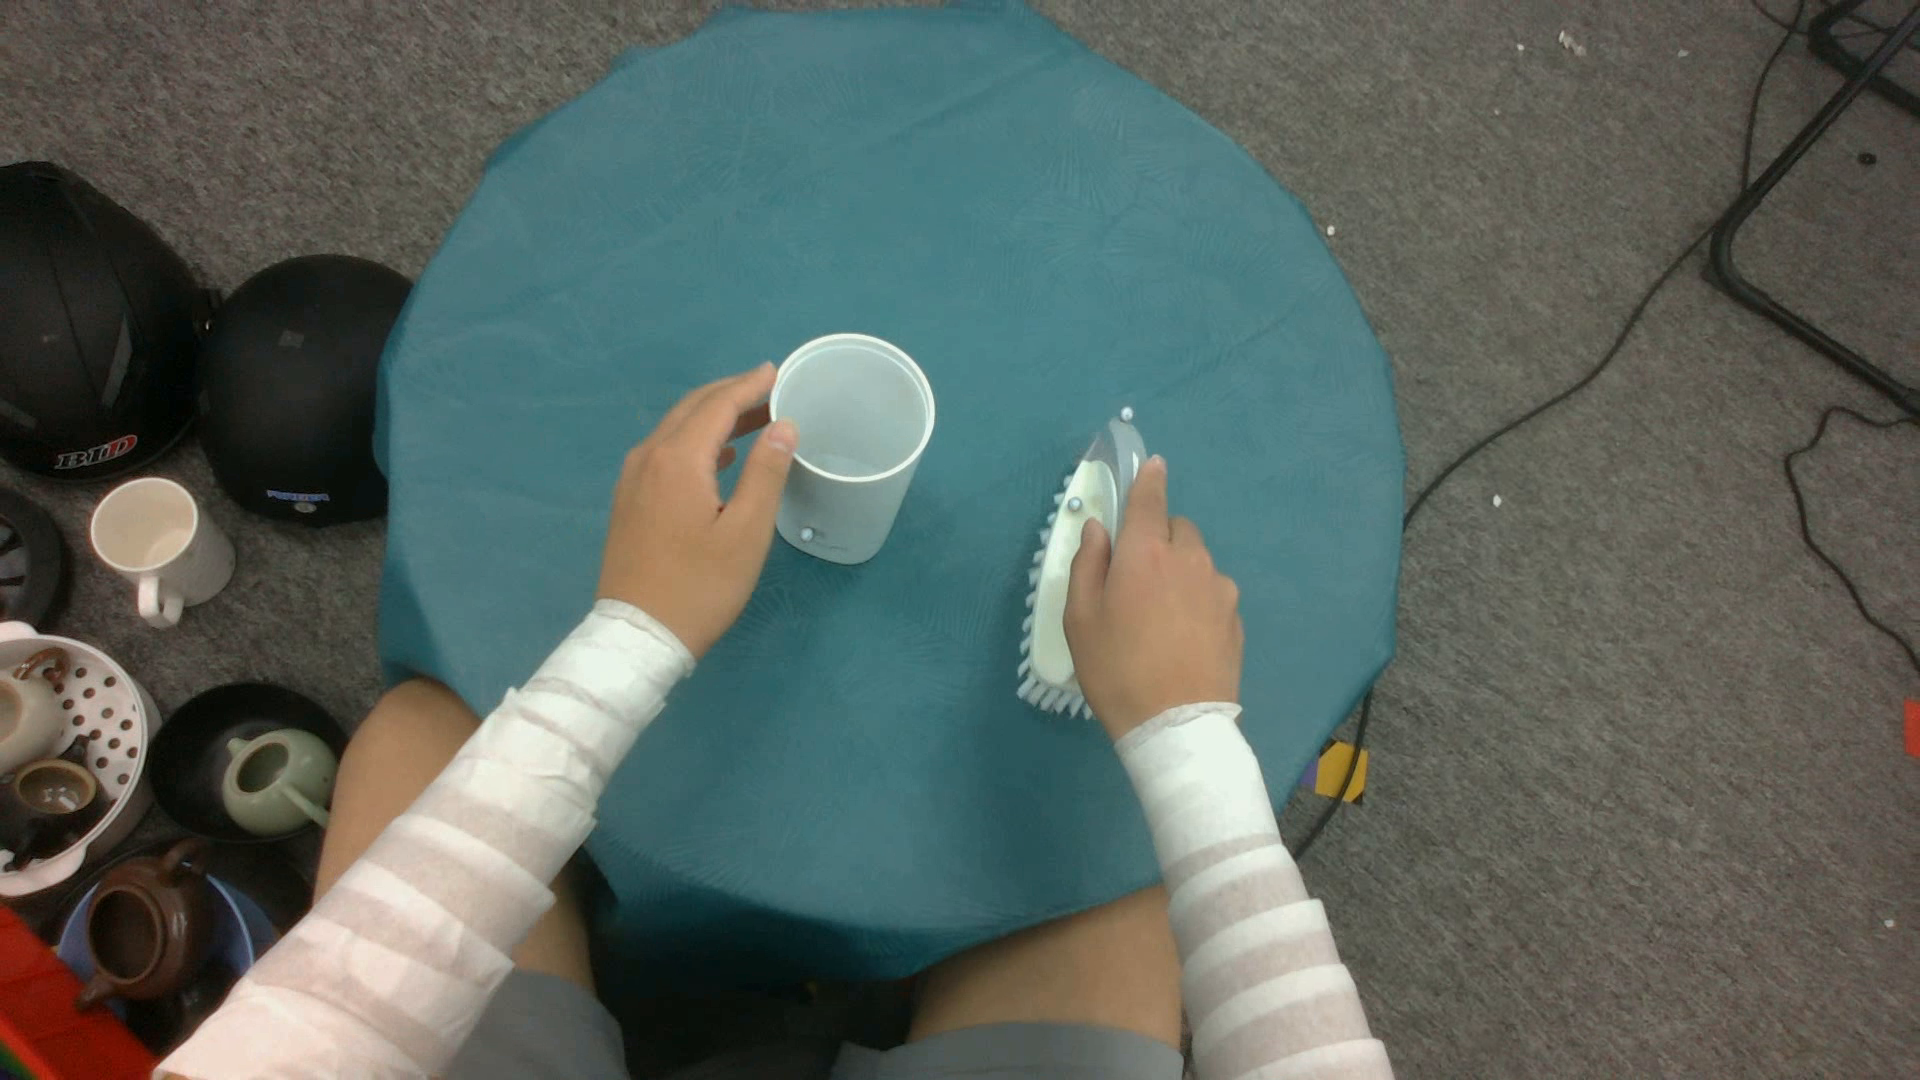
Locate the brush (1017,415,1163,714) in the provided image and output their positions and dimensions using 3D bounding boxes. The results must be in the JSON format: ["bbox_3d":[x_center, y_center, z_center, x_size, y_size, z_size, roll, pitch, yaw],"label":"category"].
[{"bbox_3d":[0.079,-0.001,0.754,0.061,0.094,0.176,17,62,-15],"label":"brush"}]

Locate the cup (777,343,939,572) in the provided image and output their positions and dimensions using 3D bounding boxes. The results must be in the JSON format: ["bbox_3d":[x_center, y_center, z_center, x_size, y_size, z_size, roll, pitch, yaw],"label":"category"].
[{"bbox_3d":[-0.060,-0.038,0.741,0.082,0.125,0.082,4,65,-8],"label":"cup"}]
